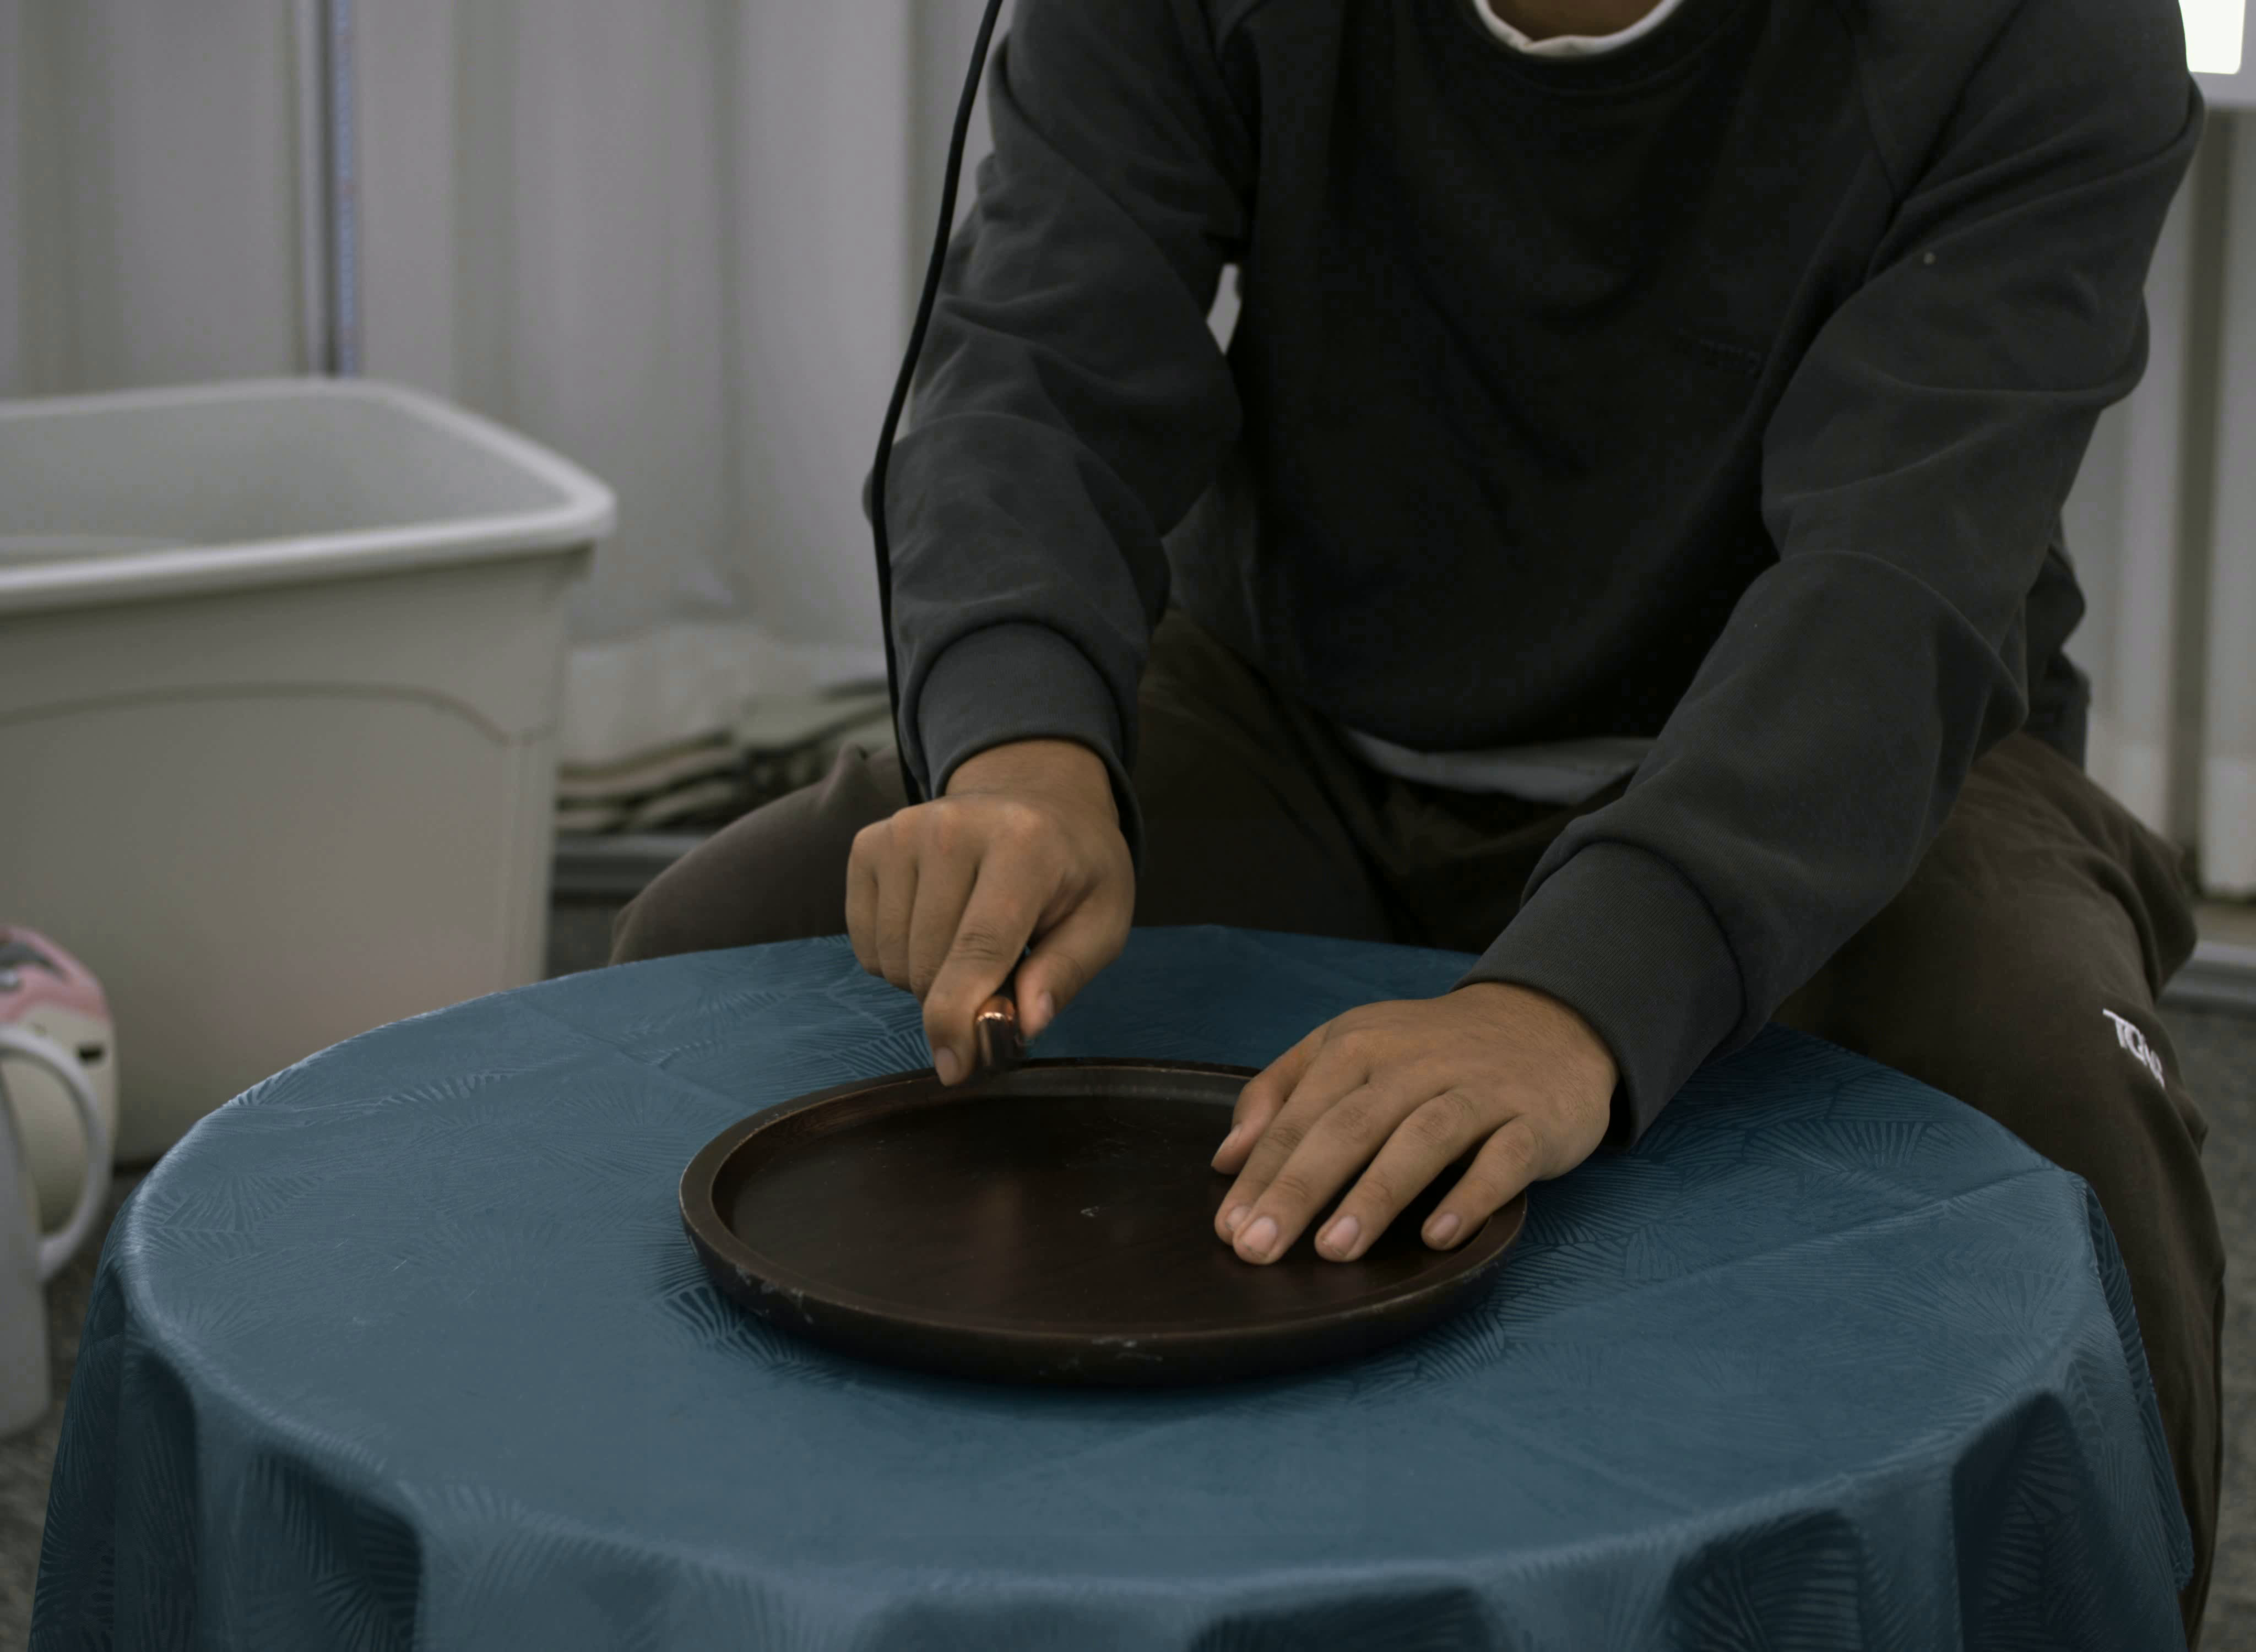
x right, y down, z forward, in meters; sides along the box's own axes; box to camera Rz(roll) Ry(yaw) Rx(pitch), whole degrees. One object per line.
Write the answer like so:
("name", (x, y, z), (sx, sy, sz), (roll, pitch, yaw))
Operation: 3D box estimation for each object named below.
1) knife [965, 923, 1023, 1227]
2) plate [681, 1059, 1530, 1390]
("knife", (-0.040, 0.073, 1.617), (0.017, 0.026, 0.224), (-11, 18, 1))
("plate", (-0.007, 0.116, 1.570), (0.254, 0.029, 0.253), (0, 14, 1))
